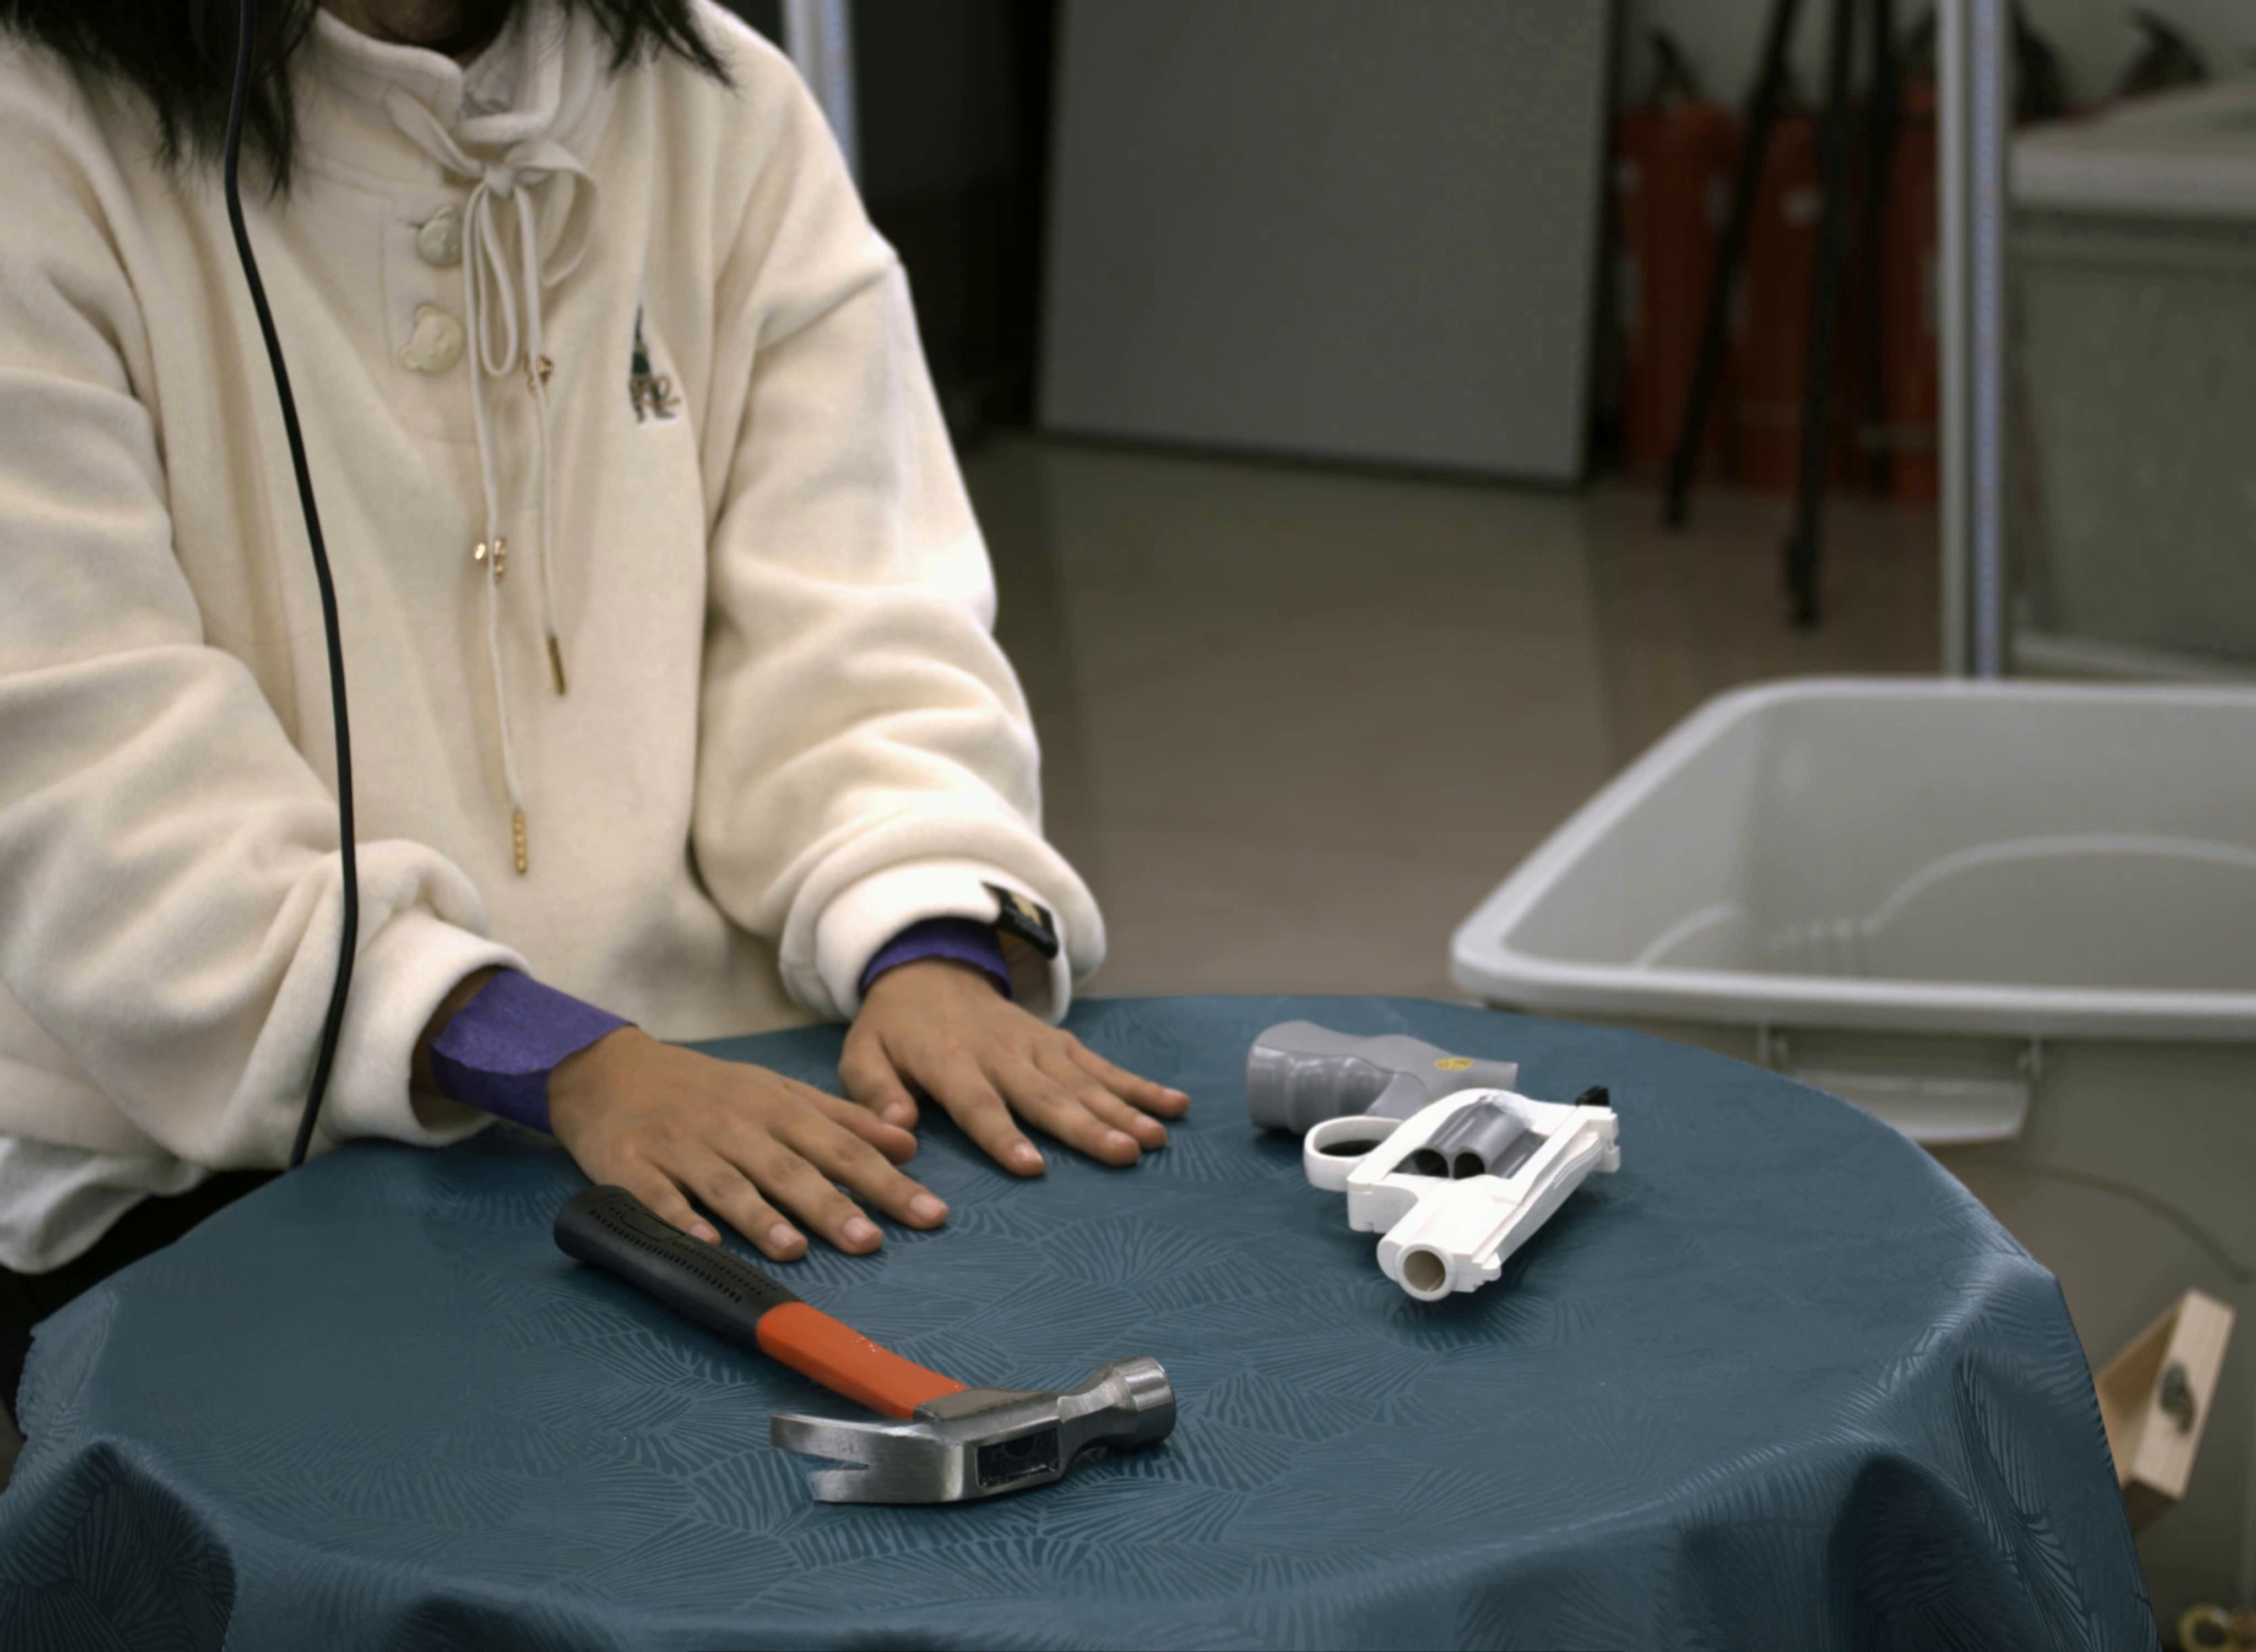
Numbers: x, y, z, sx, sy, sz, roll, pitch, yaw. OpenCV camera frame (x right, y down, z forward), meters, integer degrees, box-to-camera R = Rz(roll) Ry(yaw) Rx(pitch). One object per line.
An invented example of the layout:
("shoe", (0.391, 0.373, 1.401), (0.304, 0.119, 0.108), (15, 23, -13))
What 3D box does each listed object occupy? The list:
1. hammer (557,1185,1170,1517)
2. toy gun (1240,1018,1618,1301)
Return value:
("hammer", (-0.102, 0.151, 1.621), (0.108, 0.026, 0.280), (-21, 20, -26))
("toy gun", (0.083, 0.105, 1.727), (0.141, 0.039, 0.207), (2, 15, 20))
